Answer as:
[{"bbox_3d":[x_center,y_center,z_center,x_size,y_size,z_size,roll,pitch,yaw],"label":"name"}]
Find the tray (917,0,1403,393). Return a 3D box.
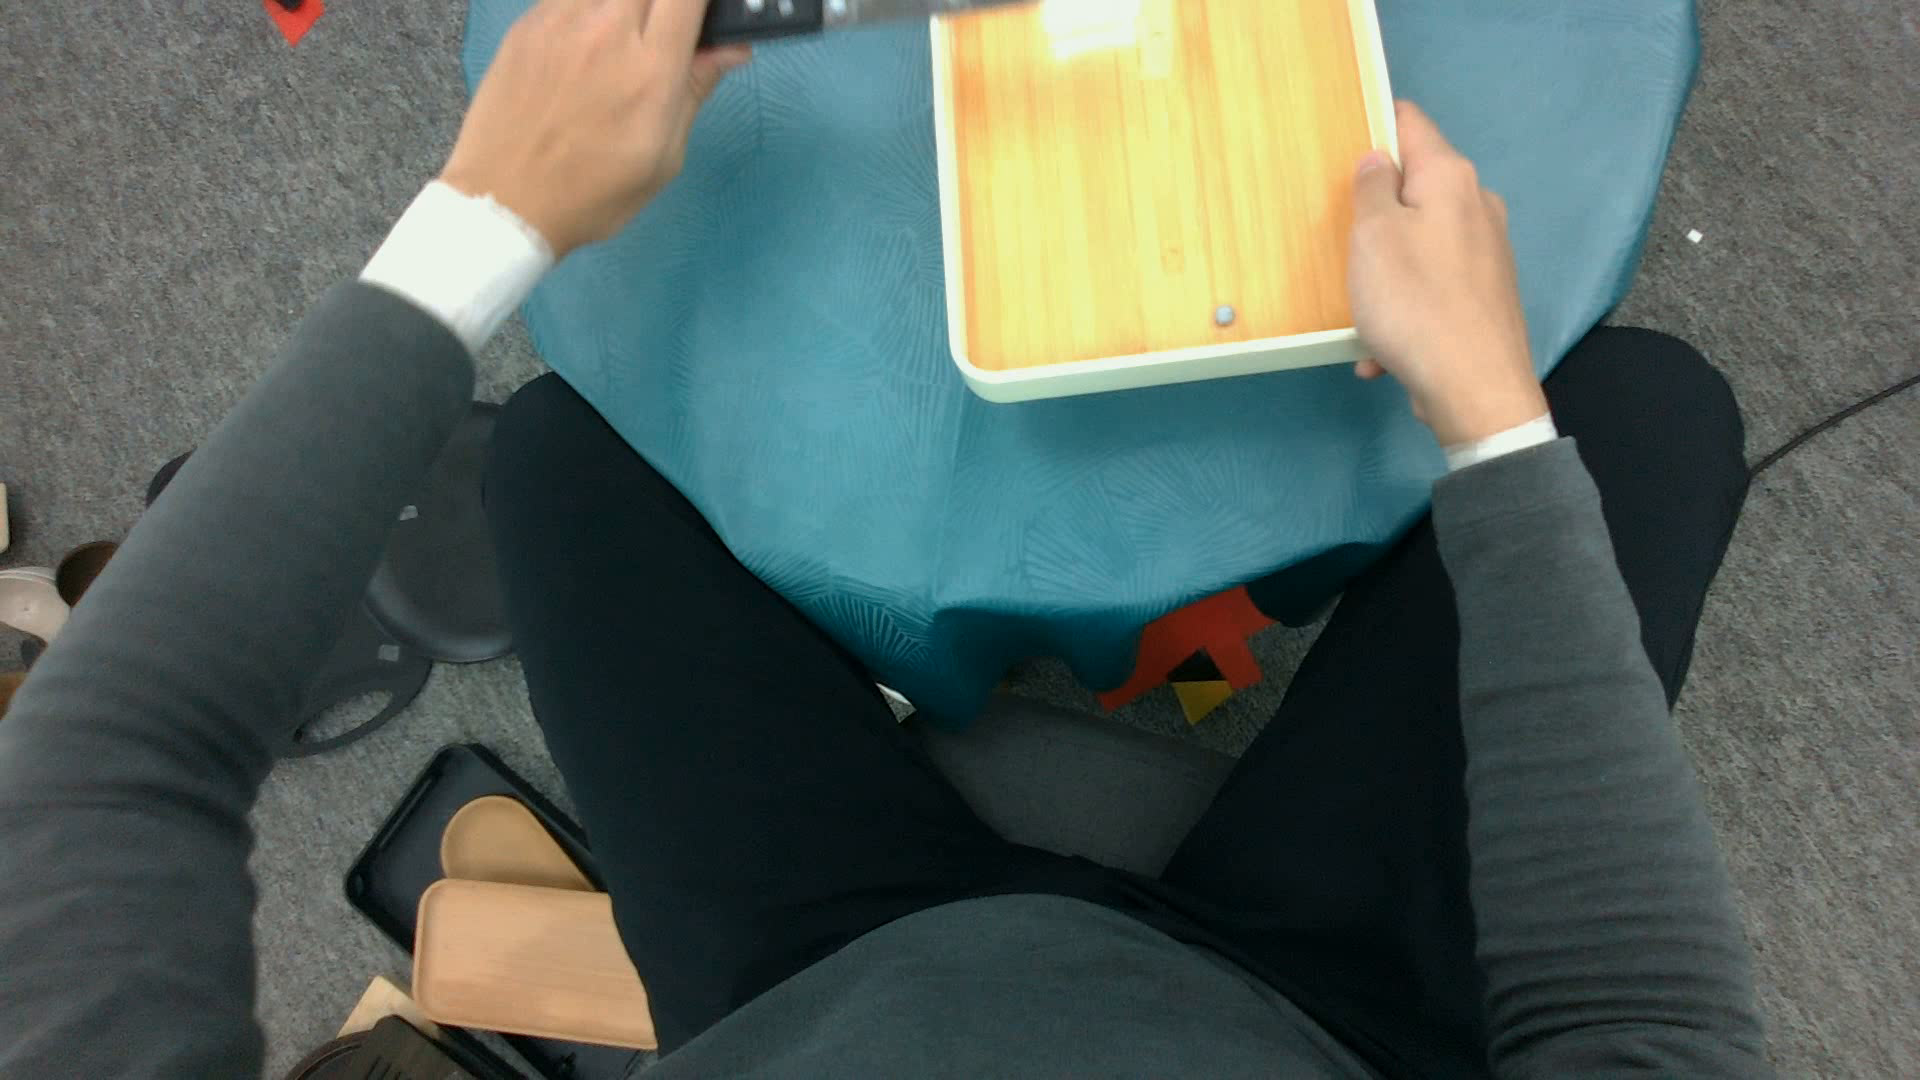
[{"bbox_3d":[0.078,-0.214,0.614,0.191,0.027,0.301,-6,70,8],"label":"tray"}]

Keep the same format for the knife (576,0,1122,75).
[{"bbox_3d":[-0.052,-0.210,0.570,0.238,0.016,0.024,0,69,14],"label":"knife"}]
